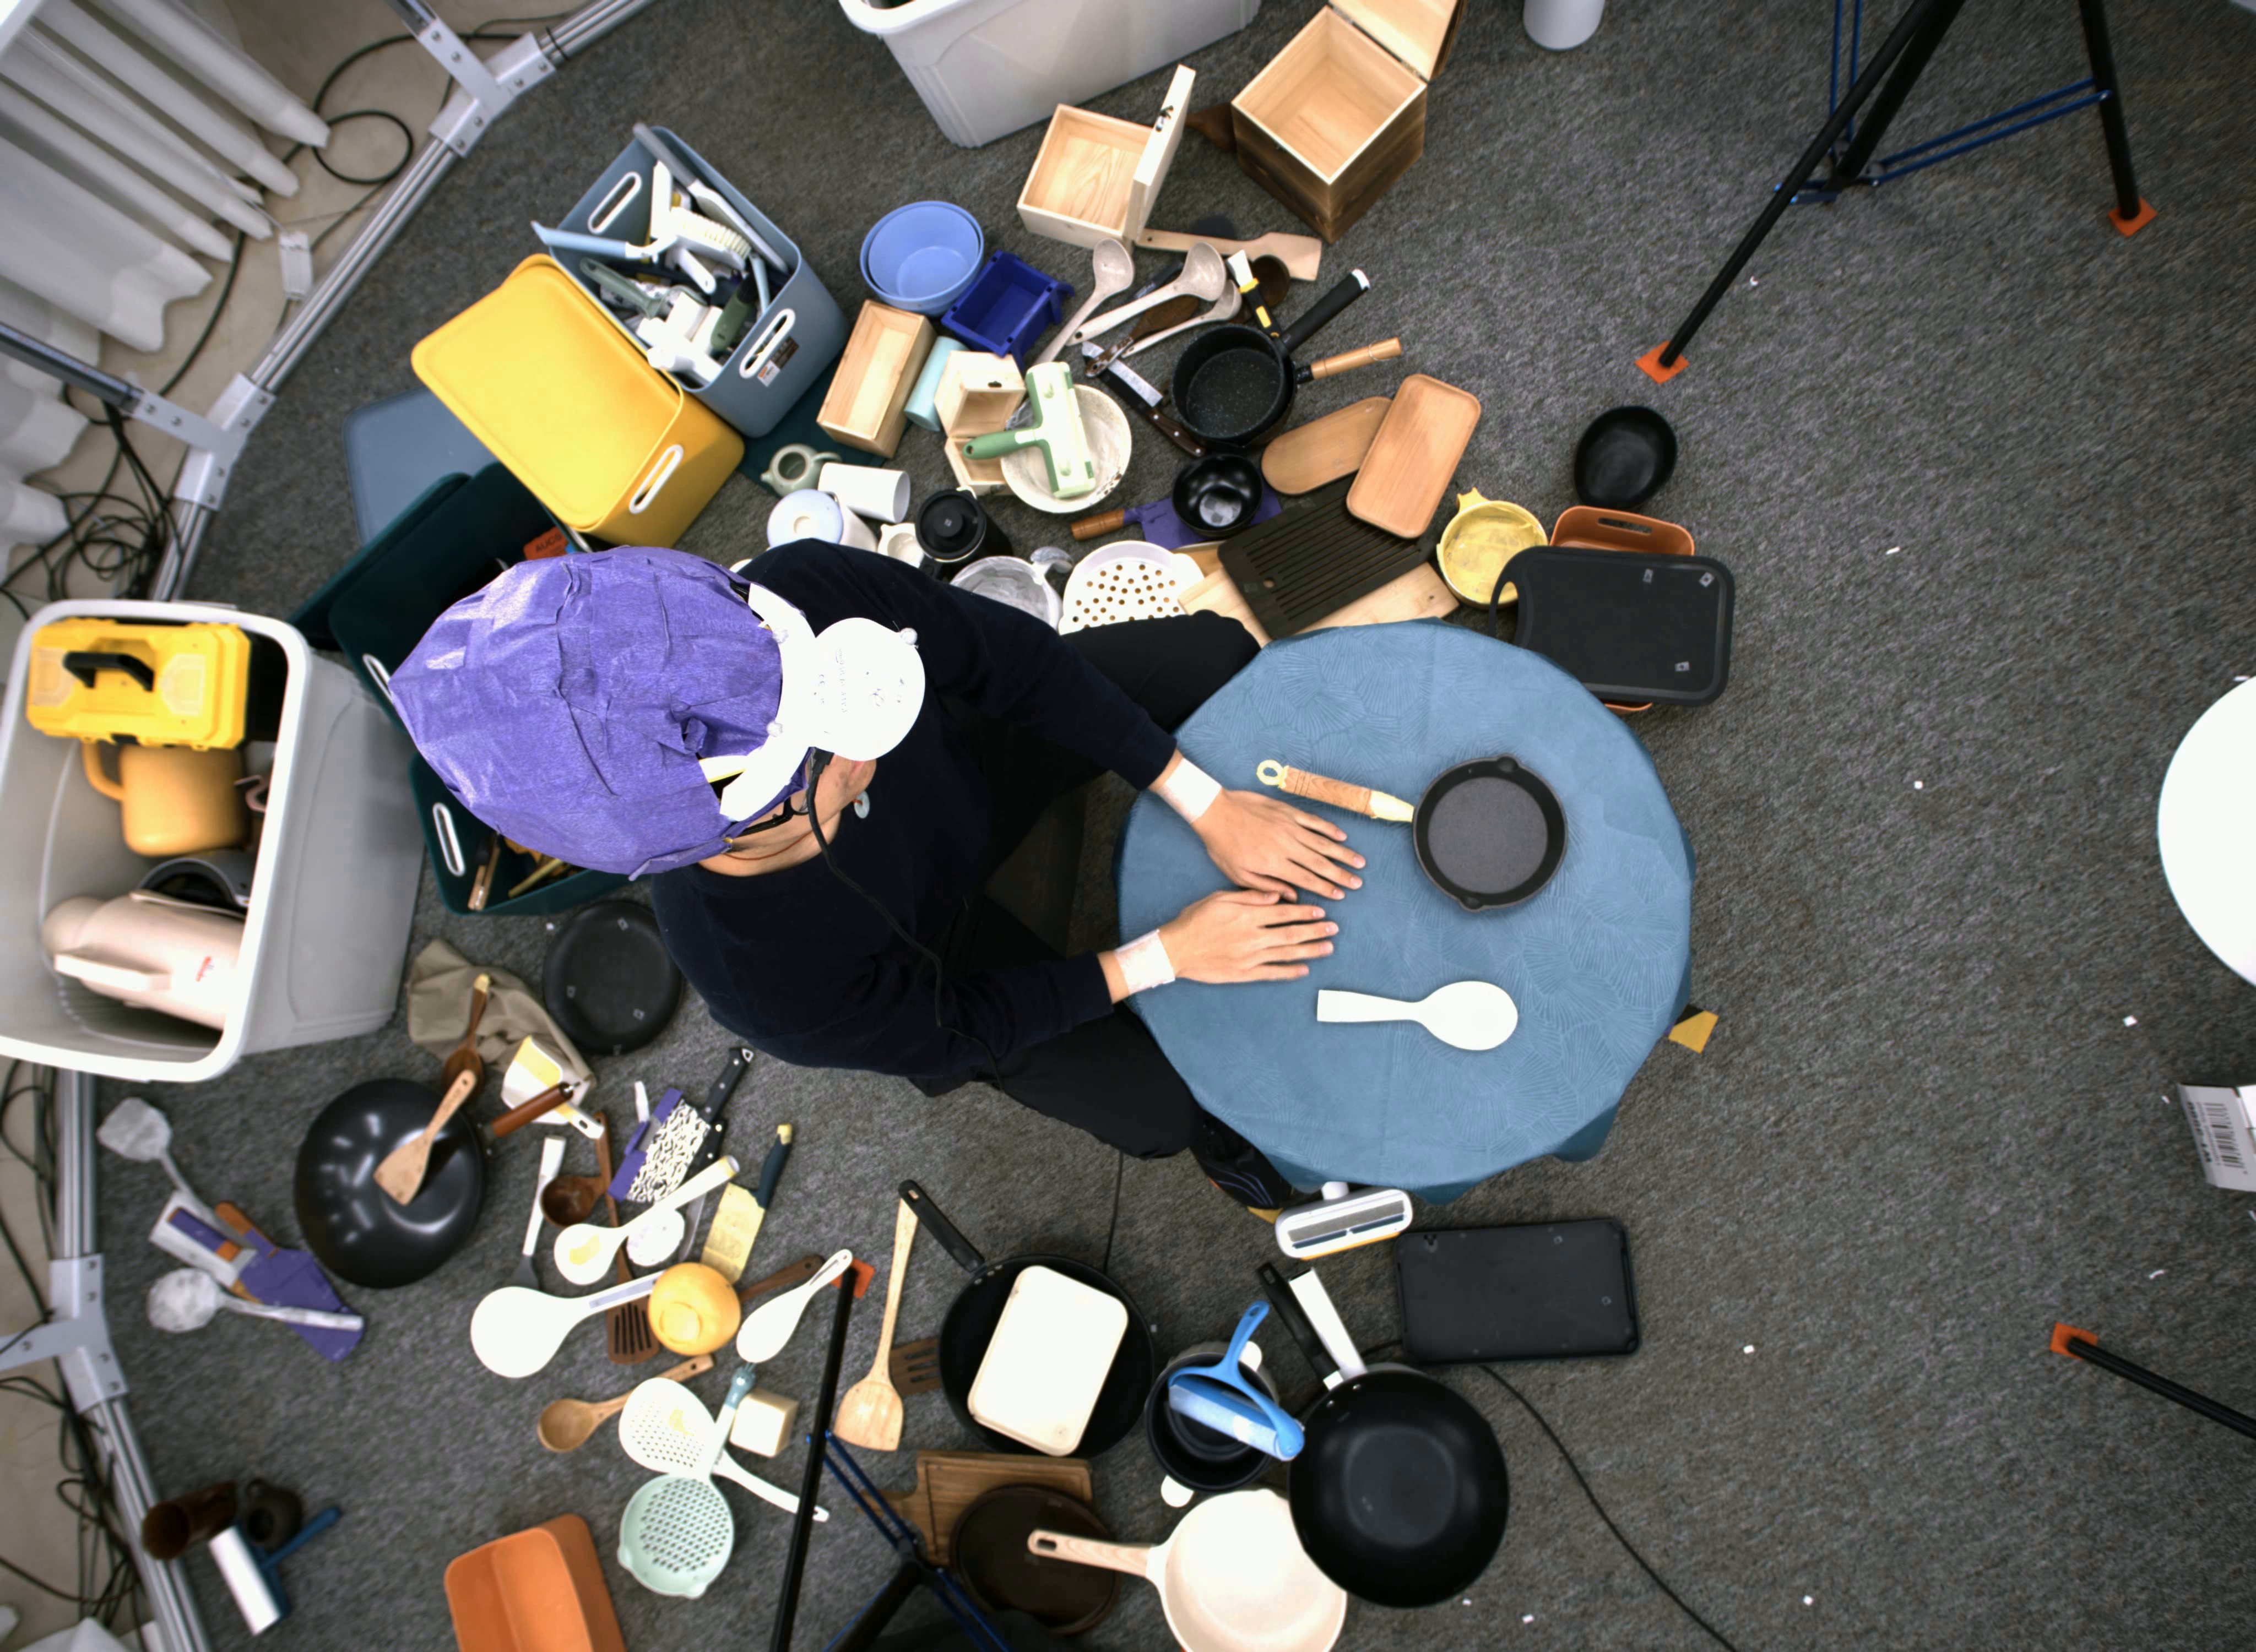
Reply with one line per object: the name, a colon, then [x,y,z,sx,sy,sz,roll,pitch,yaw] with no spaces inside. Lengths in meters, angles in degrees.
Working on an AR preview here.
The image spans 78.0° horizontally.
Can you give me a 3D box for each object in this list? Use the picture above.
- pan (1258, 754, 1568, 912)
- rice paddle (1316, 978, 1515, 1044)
pan: [0.294,-0.018,1.435,0.324,0.049,0.169,17,90,9]
rice paddle: [0.299,0.190,1.437,0.206,0.030,0.068,-1,75,9]
